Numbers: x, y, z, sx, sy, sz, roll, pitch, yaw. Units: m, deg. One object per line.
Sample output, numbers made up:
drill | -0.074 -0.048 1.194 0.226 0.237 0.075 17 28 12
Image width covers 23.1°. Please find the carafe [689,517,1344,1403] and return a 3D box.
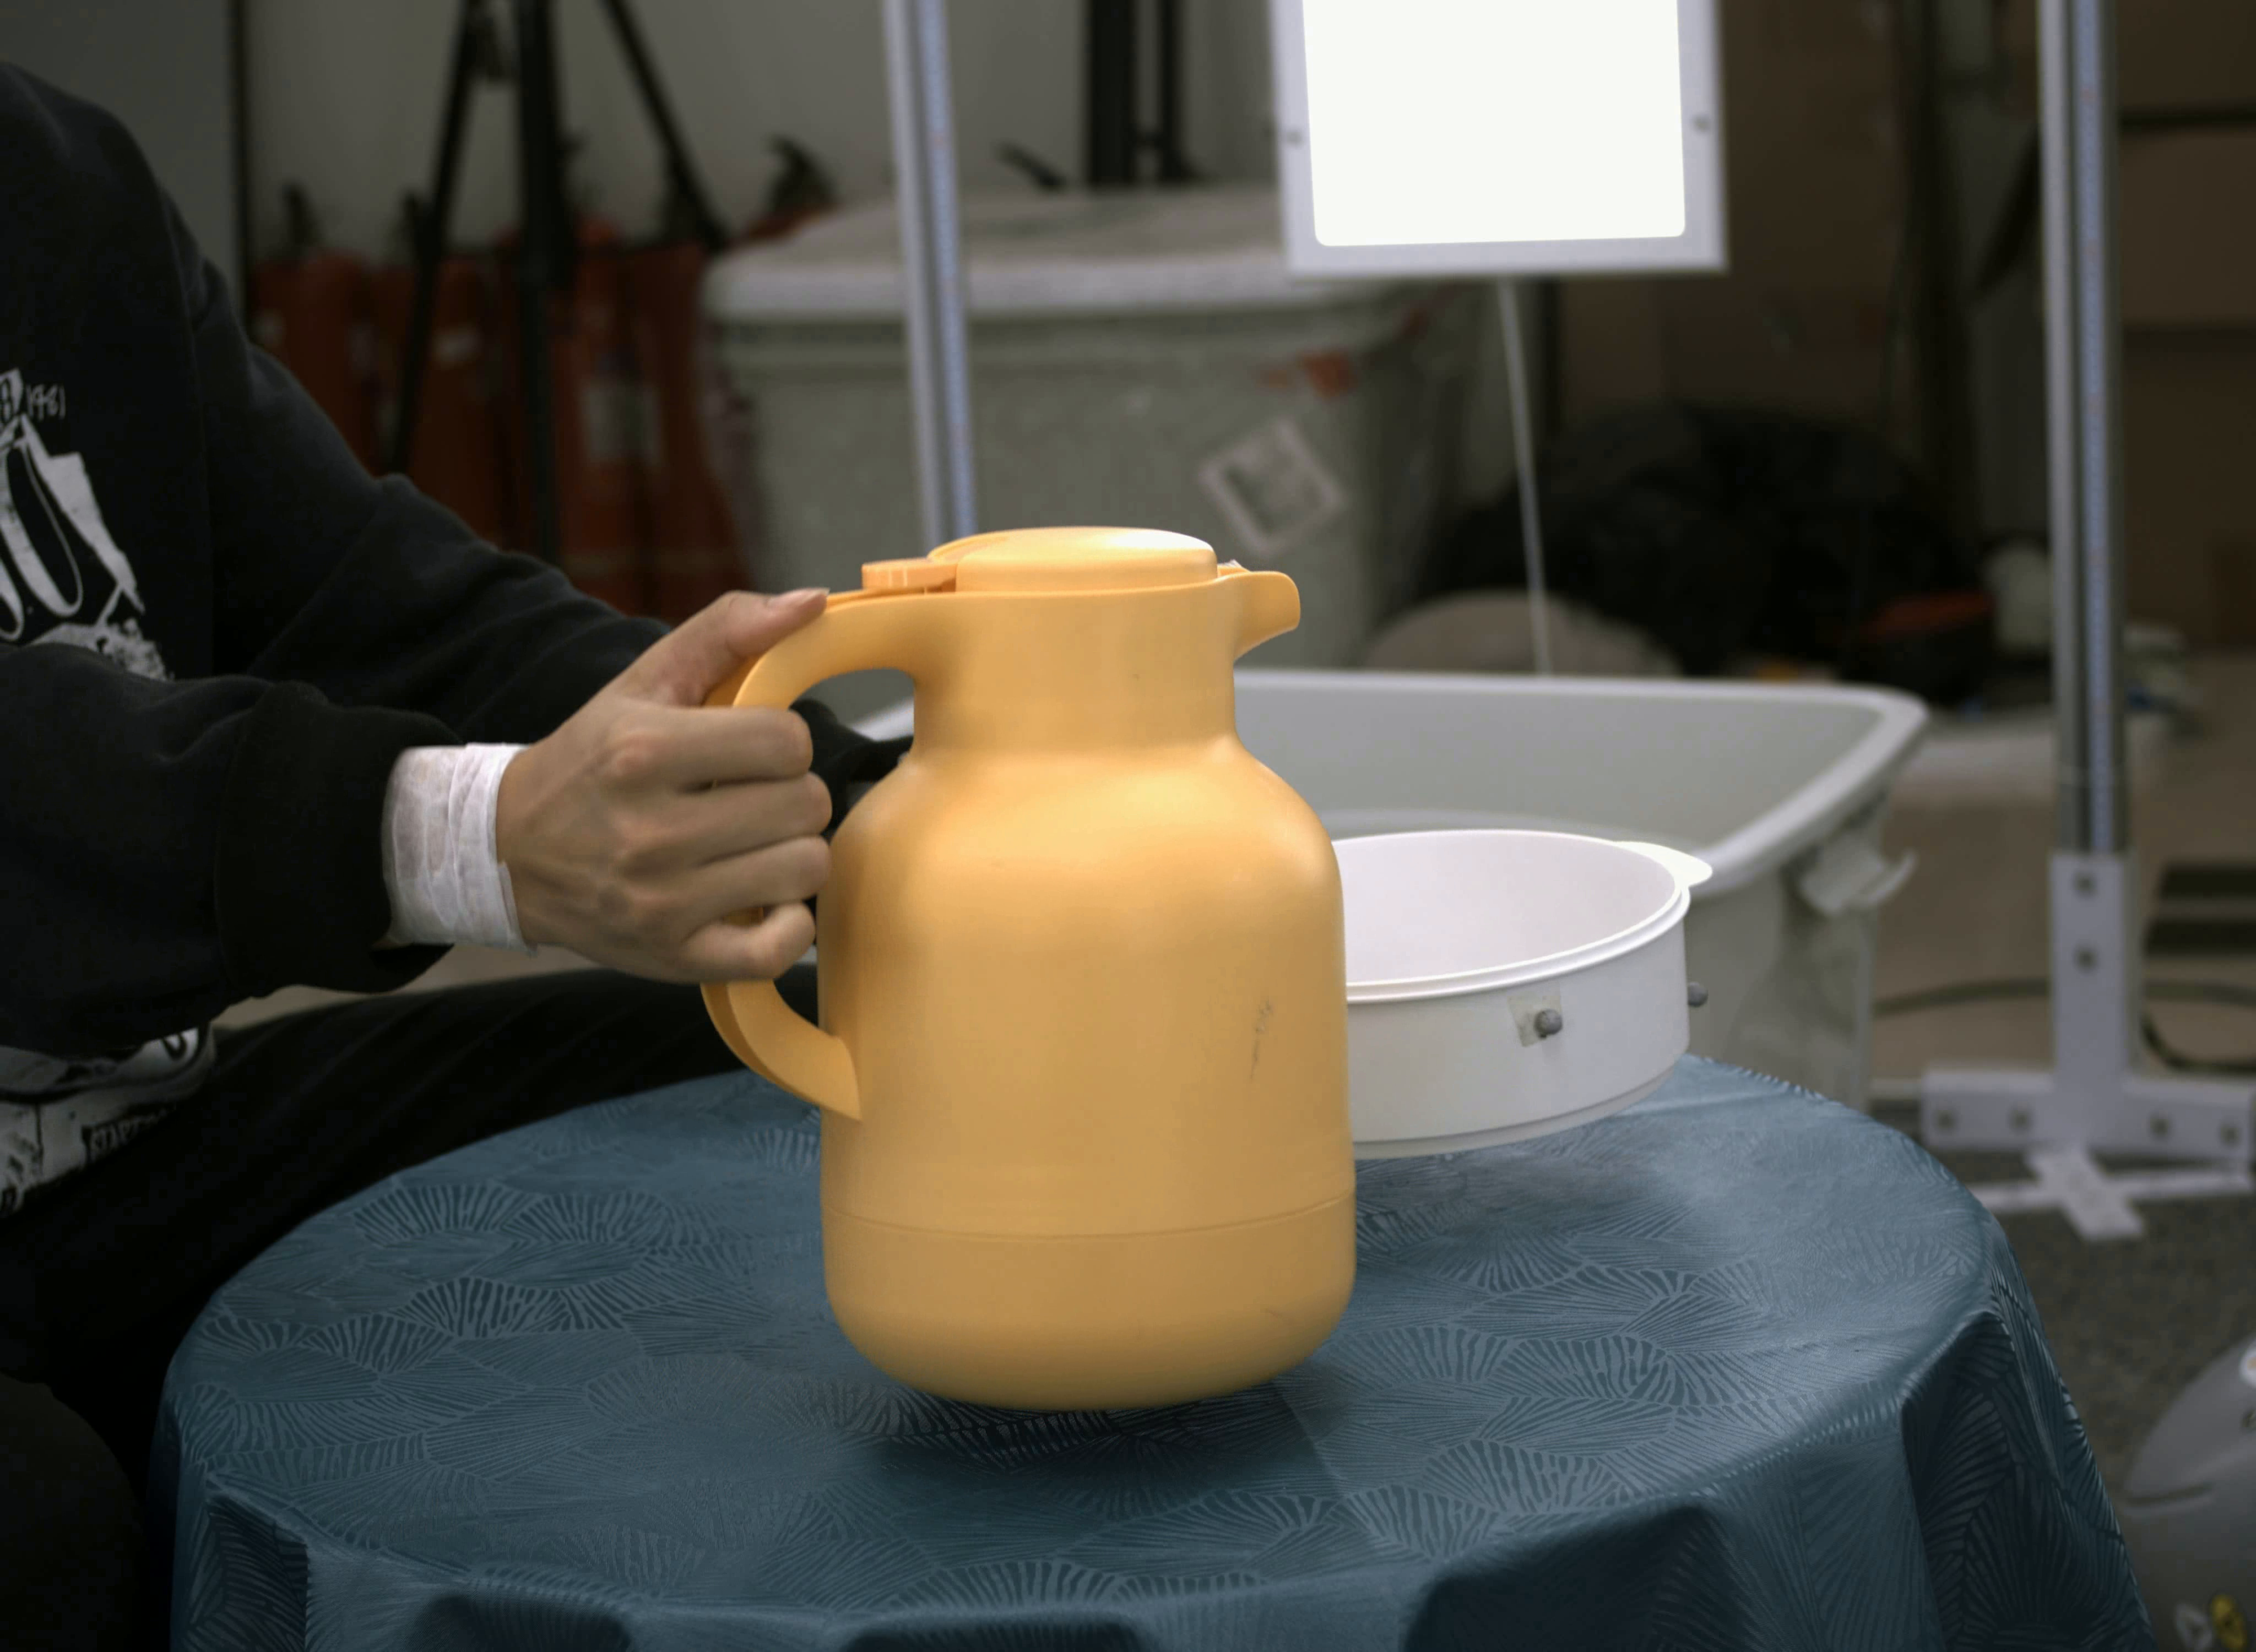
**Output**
carafe | -0.034 0.038 1.661 0.198 0.261 0.166 -3 5 -21

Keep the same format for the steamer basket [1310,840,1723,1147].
steamer basket | 0.099 0.058 1.890 0.226 0.069 0.205 -10 12 -21
